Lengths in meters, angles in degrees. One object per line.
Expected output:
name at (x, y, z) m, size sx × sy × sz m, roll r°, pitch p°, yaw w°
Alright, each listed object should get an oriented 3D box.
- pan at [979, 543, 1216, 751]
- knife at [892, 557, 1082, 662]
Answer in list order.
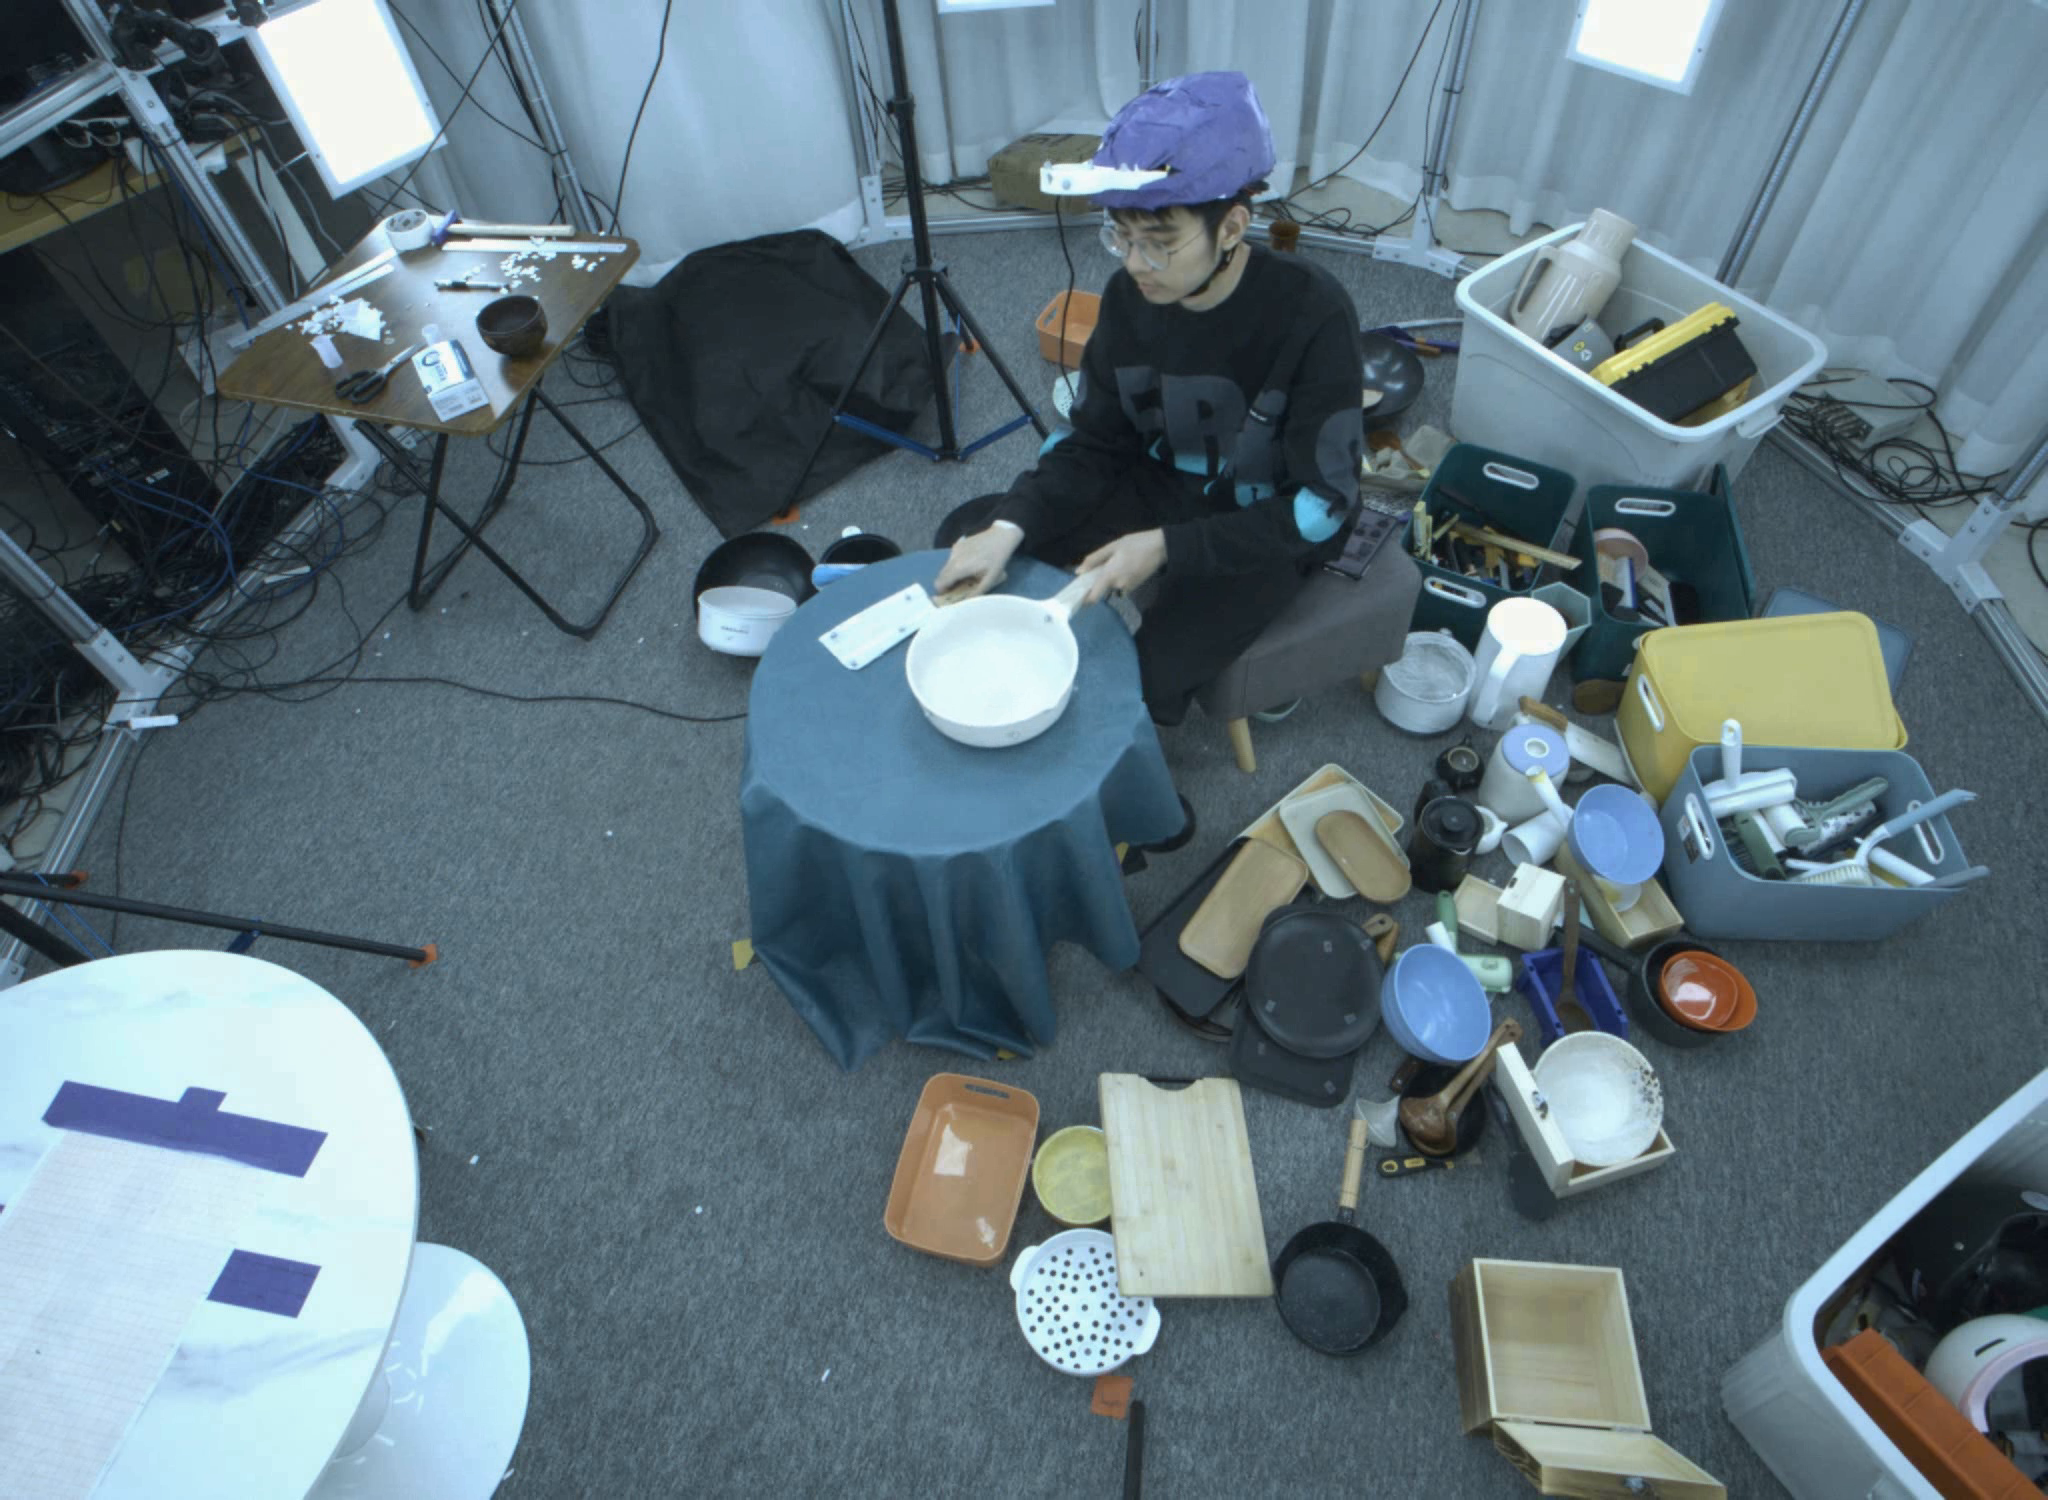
pan at (0.130, -0.161, 1.835) m, size 0.438 × 0.103 × 0.258 m, roll -37°, pitch 59°, yaw -21°
knife at (-0.052, -0.228, 1.939) m, size 0.317 × 0.022 × 0.112 m, roll -26°, pitch 57°, yaw -12°
